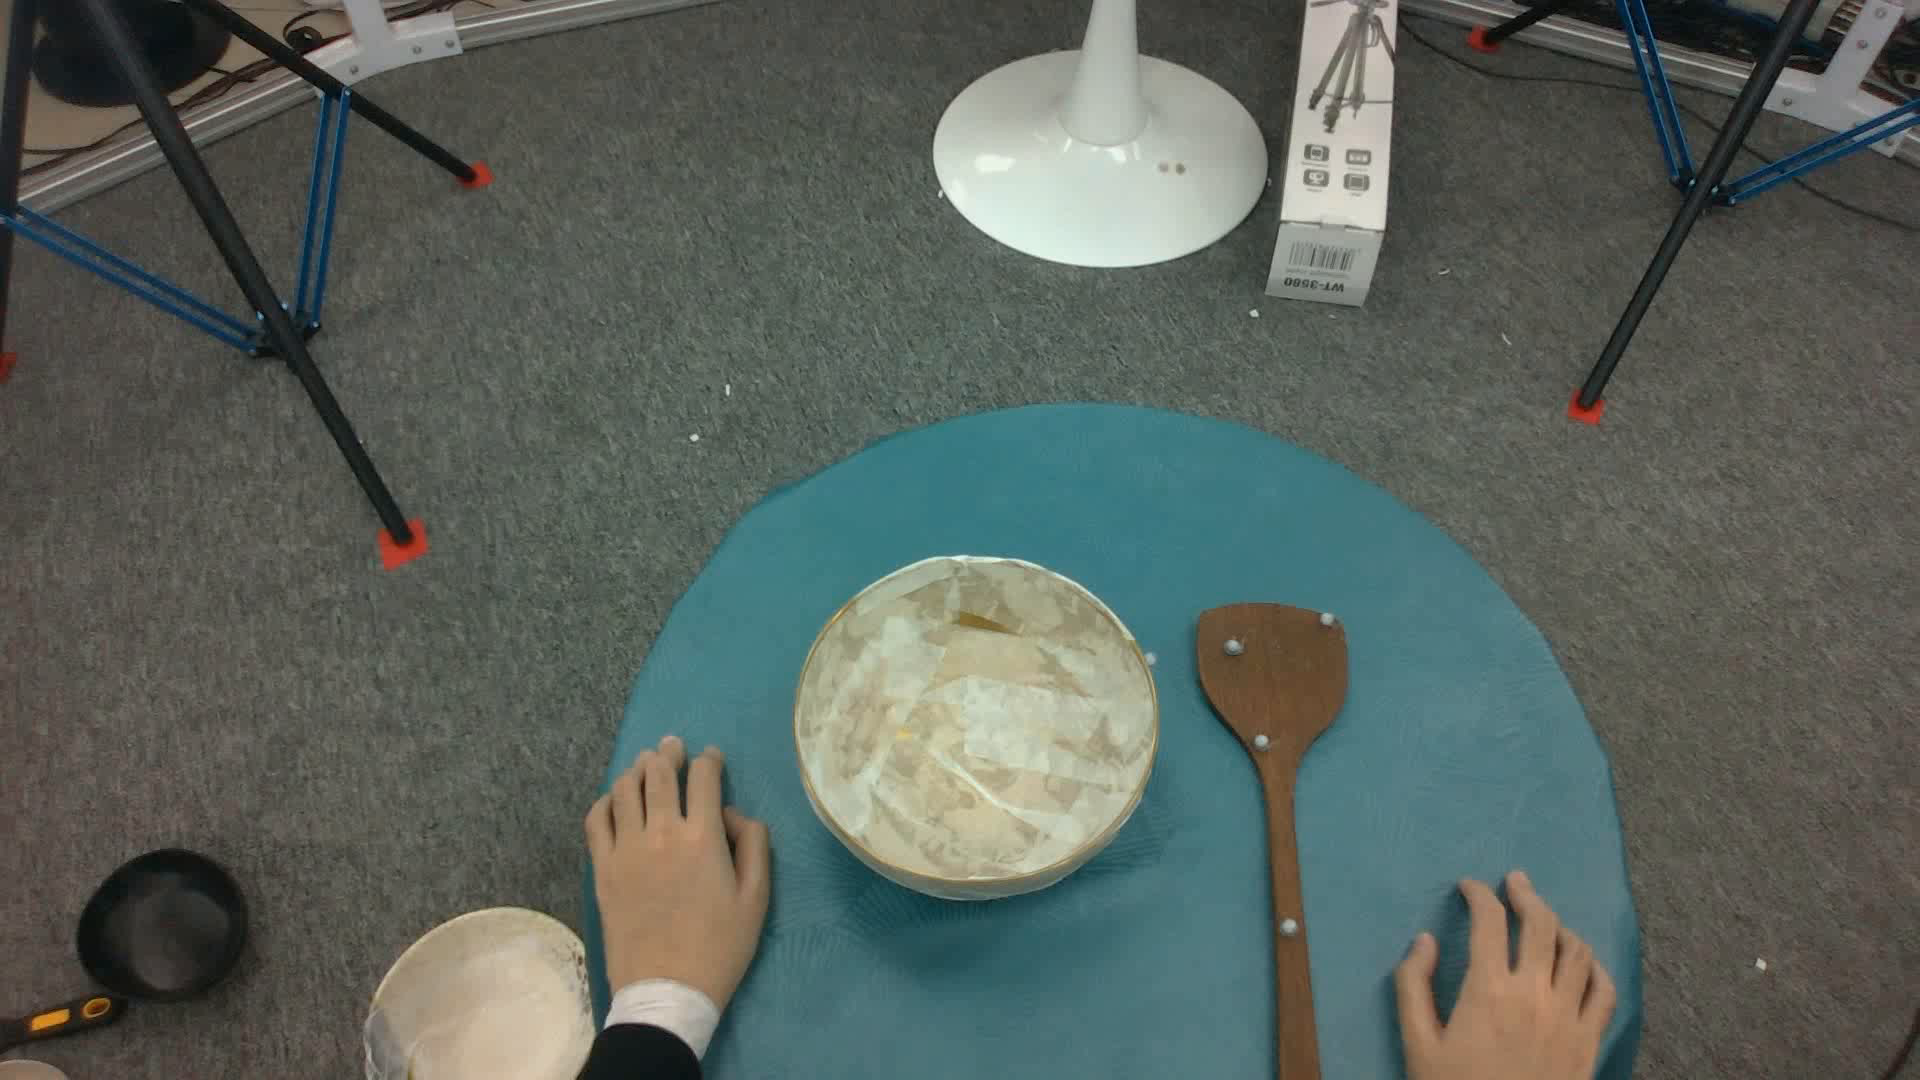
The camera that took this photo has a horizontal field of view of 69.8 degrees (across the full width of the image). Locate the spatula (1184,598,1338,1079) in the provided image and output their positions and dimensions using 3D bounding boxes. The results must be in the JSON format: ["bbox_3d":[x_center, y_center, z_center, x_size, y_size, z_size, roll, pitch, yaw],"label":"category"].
[{"bbox_3d":[0.177,0.195,0.772,0.096,0.016,0.388,4,54,2],"label":"spatula"}]

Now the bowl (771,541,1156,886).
[{"bbox_3d":[-0.001,0.110,0.779,0.215,0.094,0.215,2,55,-2],"label":"bowl"}]
